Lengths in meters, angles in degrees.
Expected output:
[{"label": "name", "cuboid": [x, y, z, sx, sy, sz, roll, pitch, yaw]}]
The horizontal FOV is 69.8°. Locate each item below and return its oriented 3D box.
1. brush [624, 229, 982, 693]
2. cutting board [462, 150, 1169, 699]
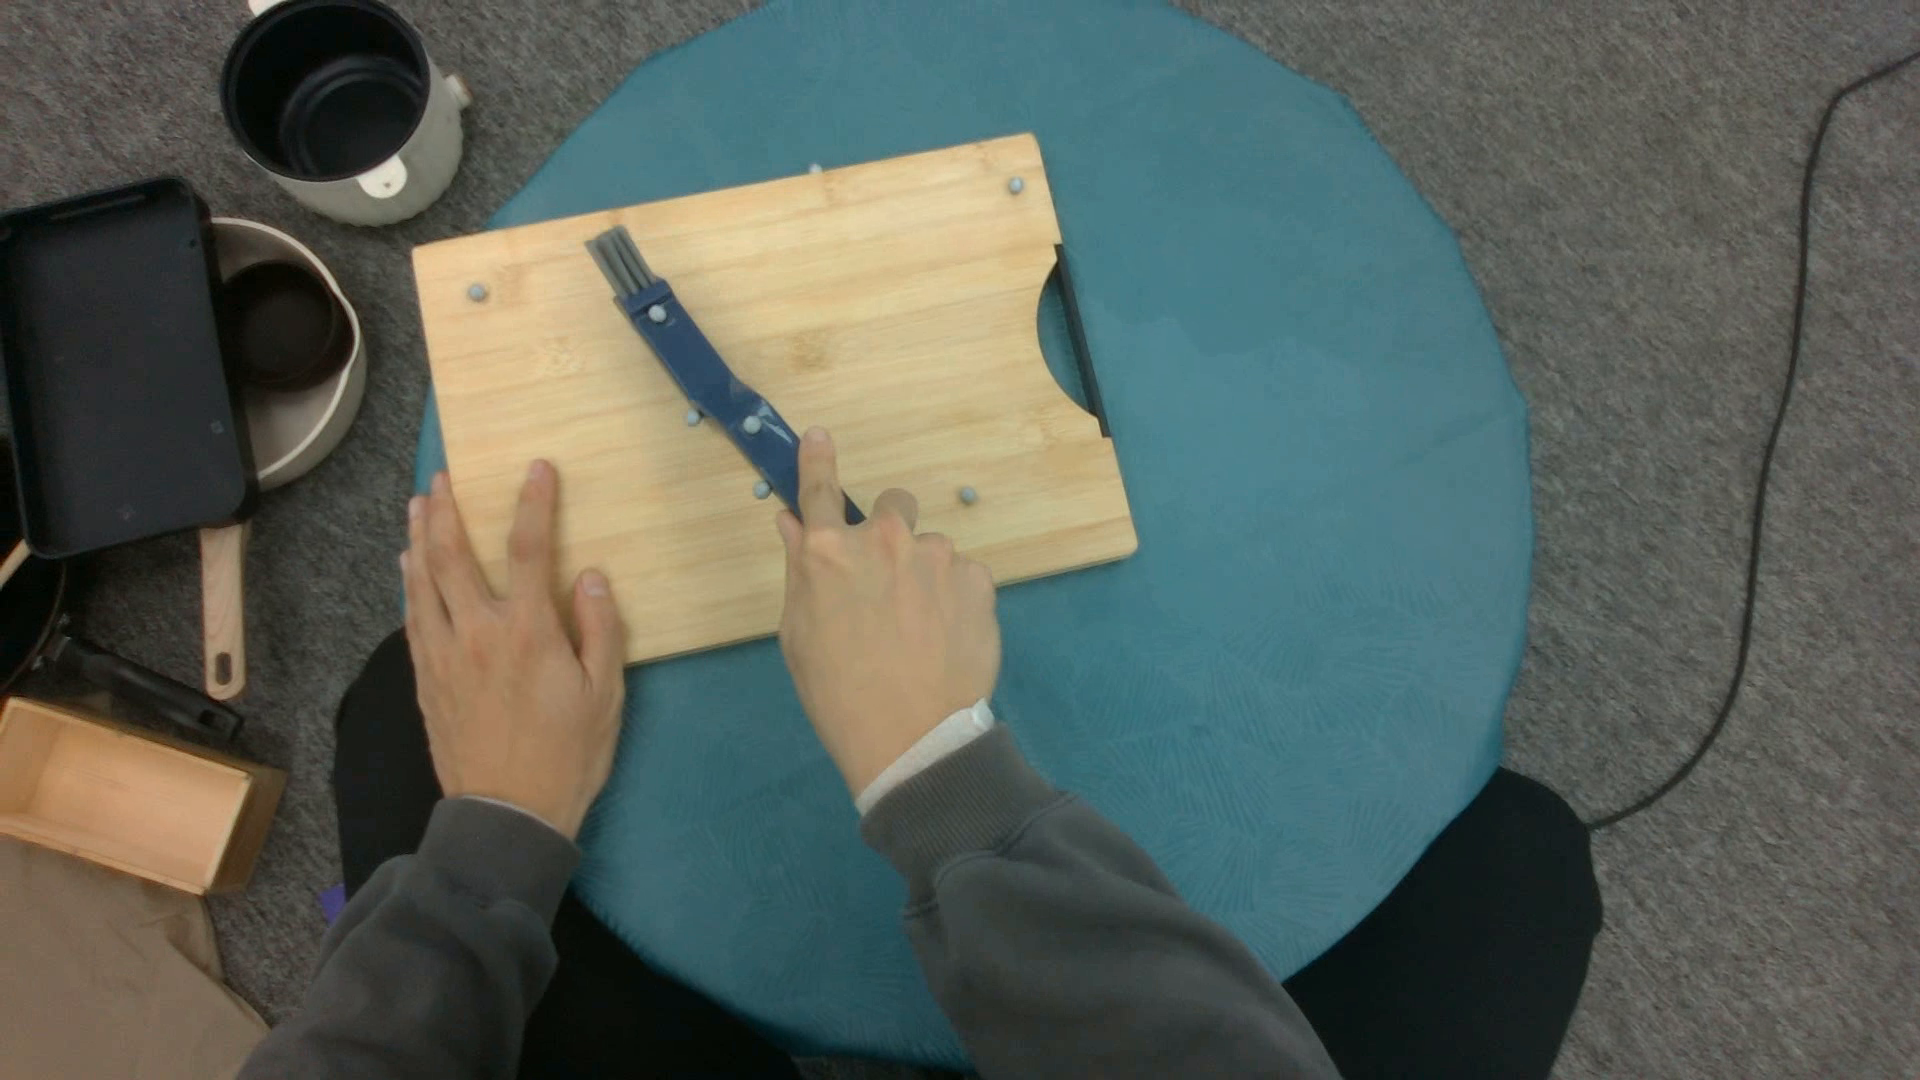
[{"label": "brush", "cuboid": [-0.083, -0.042, 0.653, 0.033, 0.095, 0.273, -31, 55, -18]}, {"label": "cutting board", "cuboid": [-0.084, -0.068, 0.750, 0.349, 0.023, 0.251, -13, 80, -4]}]
